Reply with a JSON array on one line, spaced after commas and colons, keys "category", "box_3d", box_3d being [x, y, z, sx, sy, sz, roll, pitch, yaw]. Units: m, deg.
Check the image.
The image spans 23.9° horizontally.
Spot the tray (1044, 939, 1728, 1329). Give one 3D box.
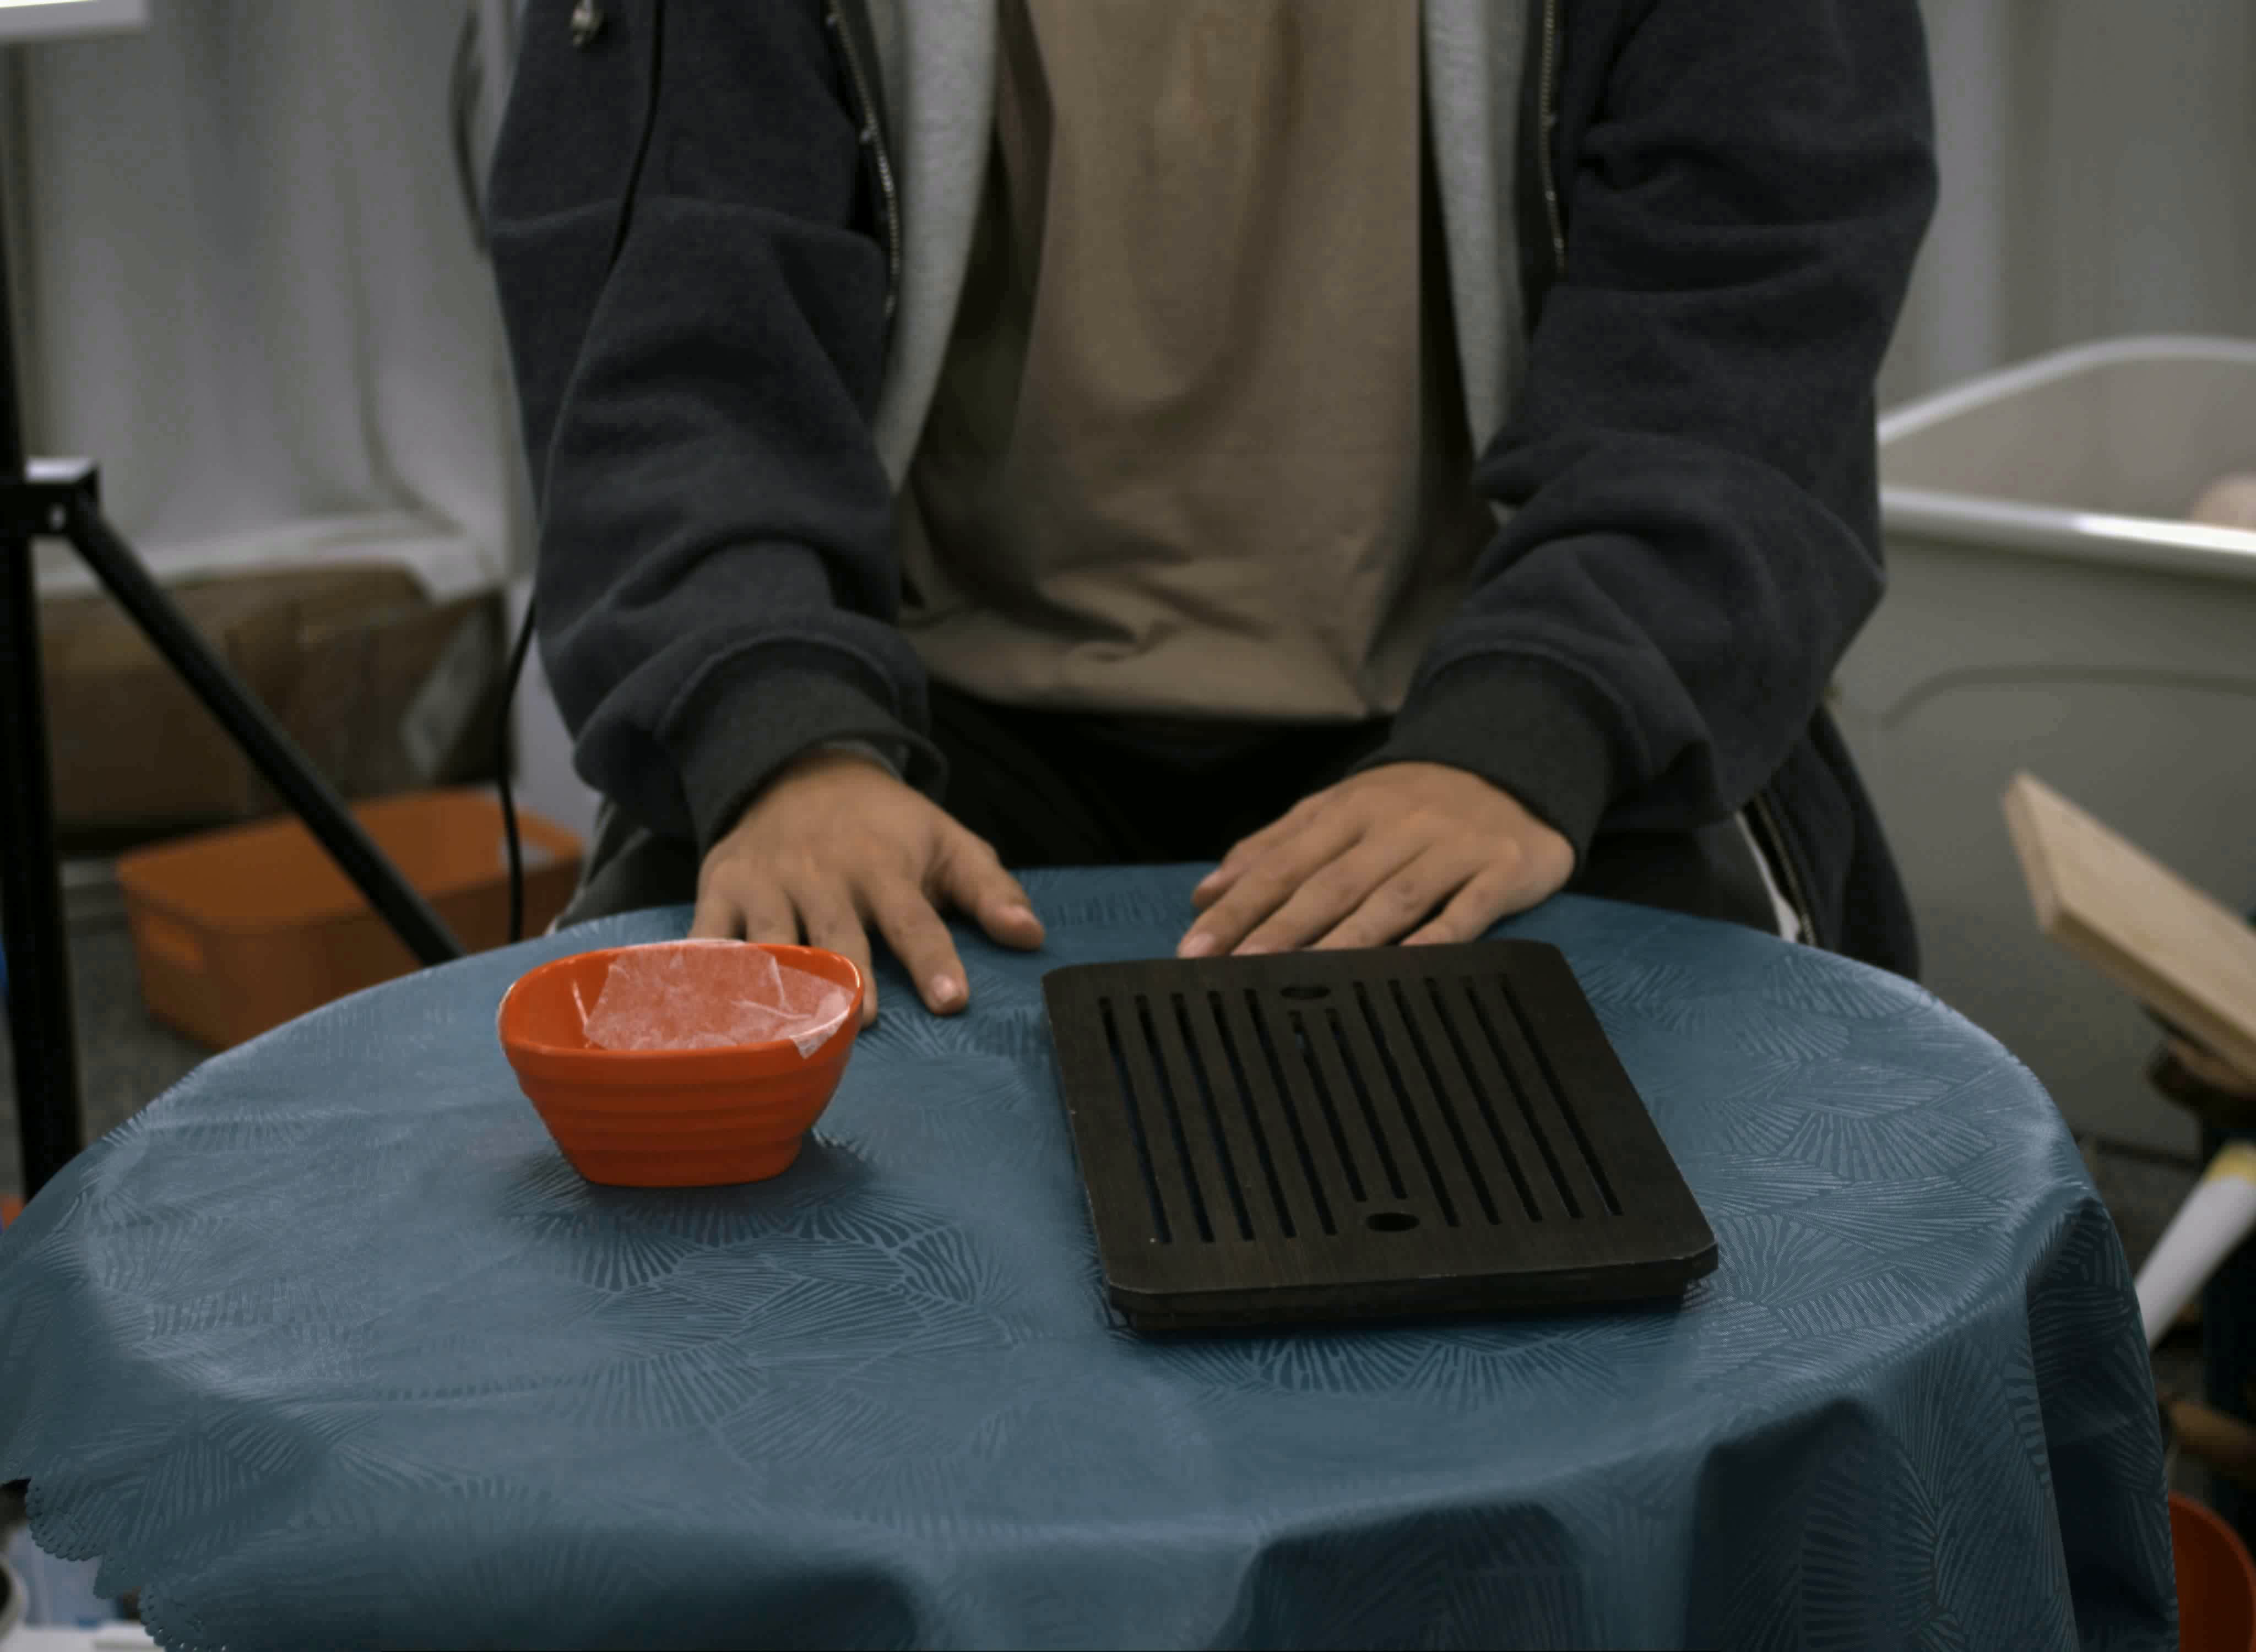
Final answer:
[{"category": "tray", "box_3d": [0.069, 0.089, 1.583, 0.169, 0.018, 0.308, -4, 15, -3]}]

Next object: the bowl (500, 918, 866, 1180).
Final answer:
[{"category": "bowl", "box_3d": [-0.132, 0.070, 1.609, 0.118, 0.051, 0.119, -5, 20, 0]}]
